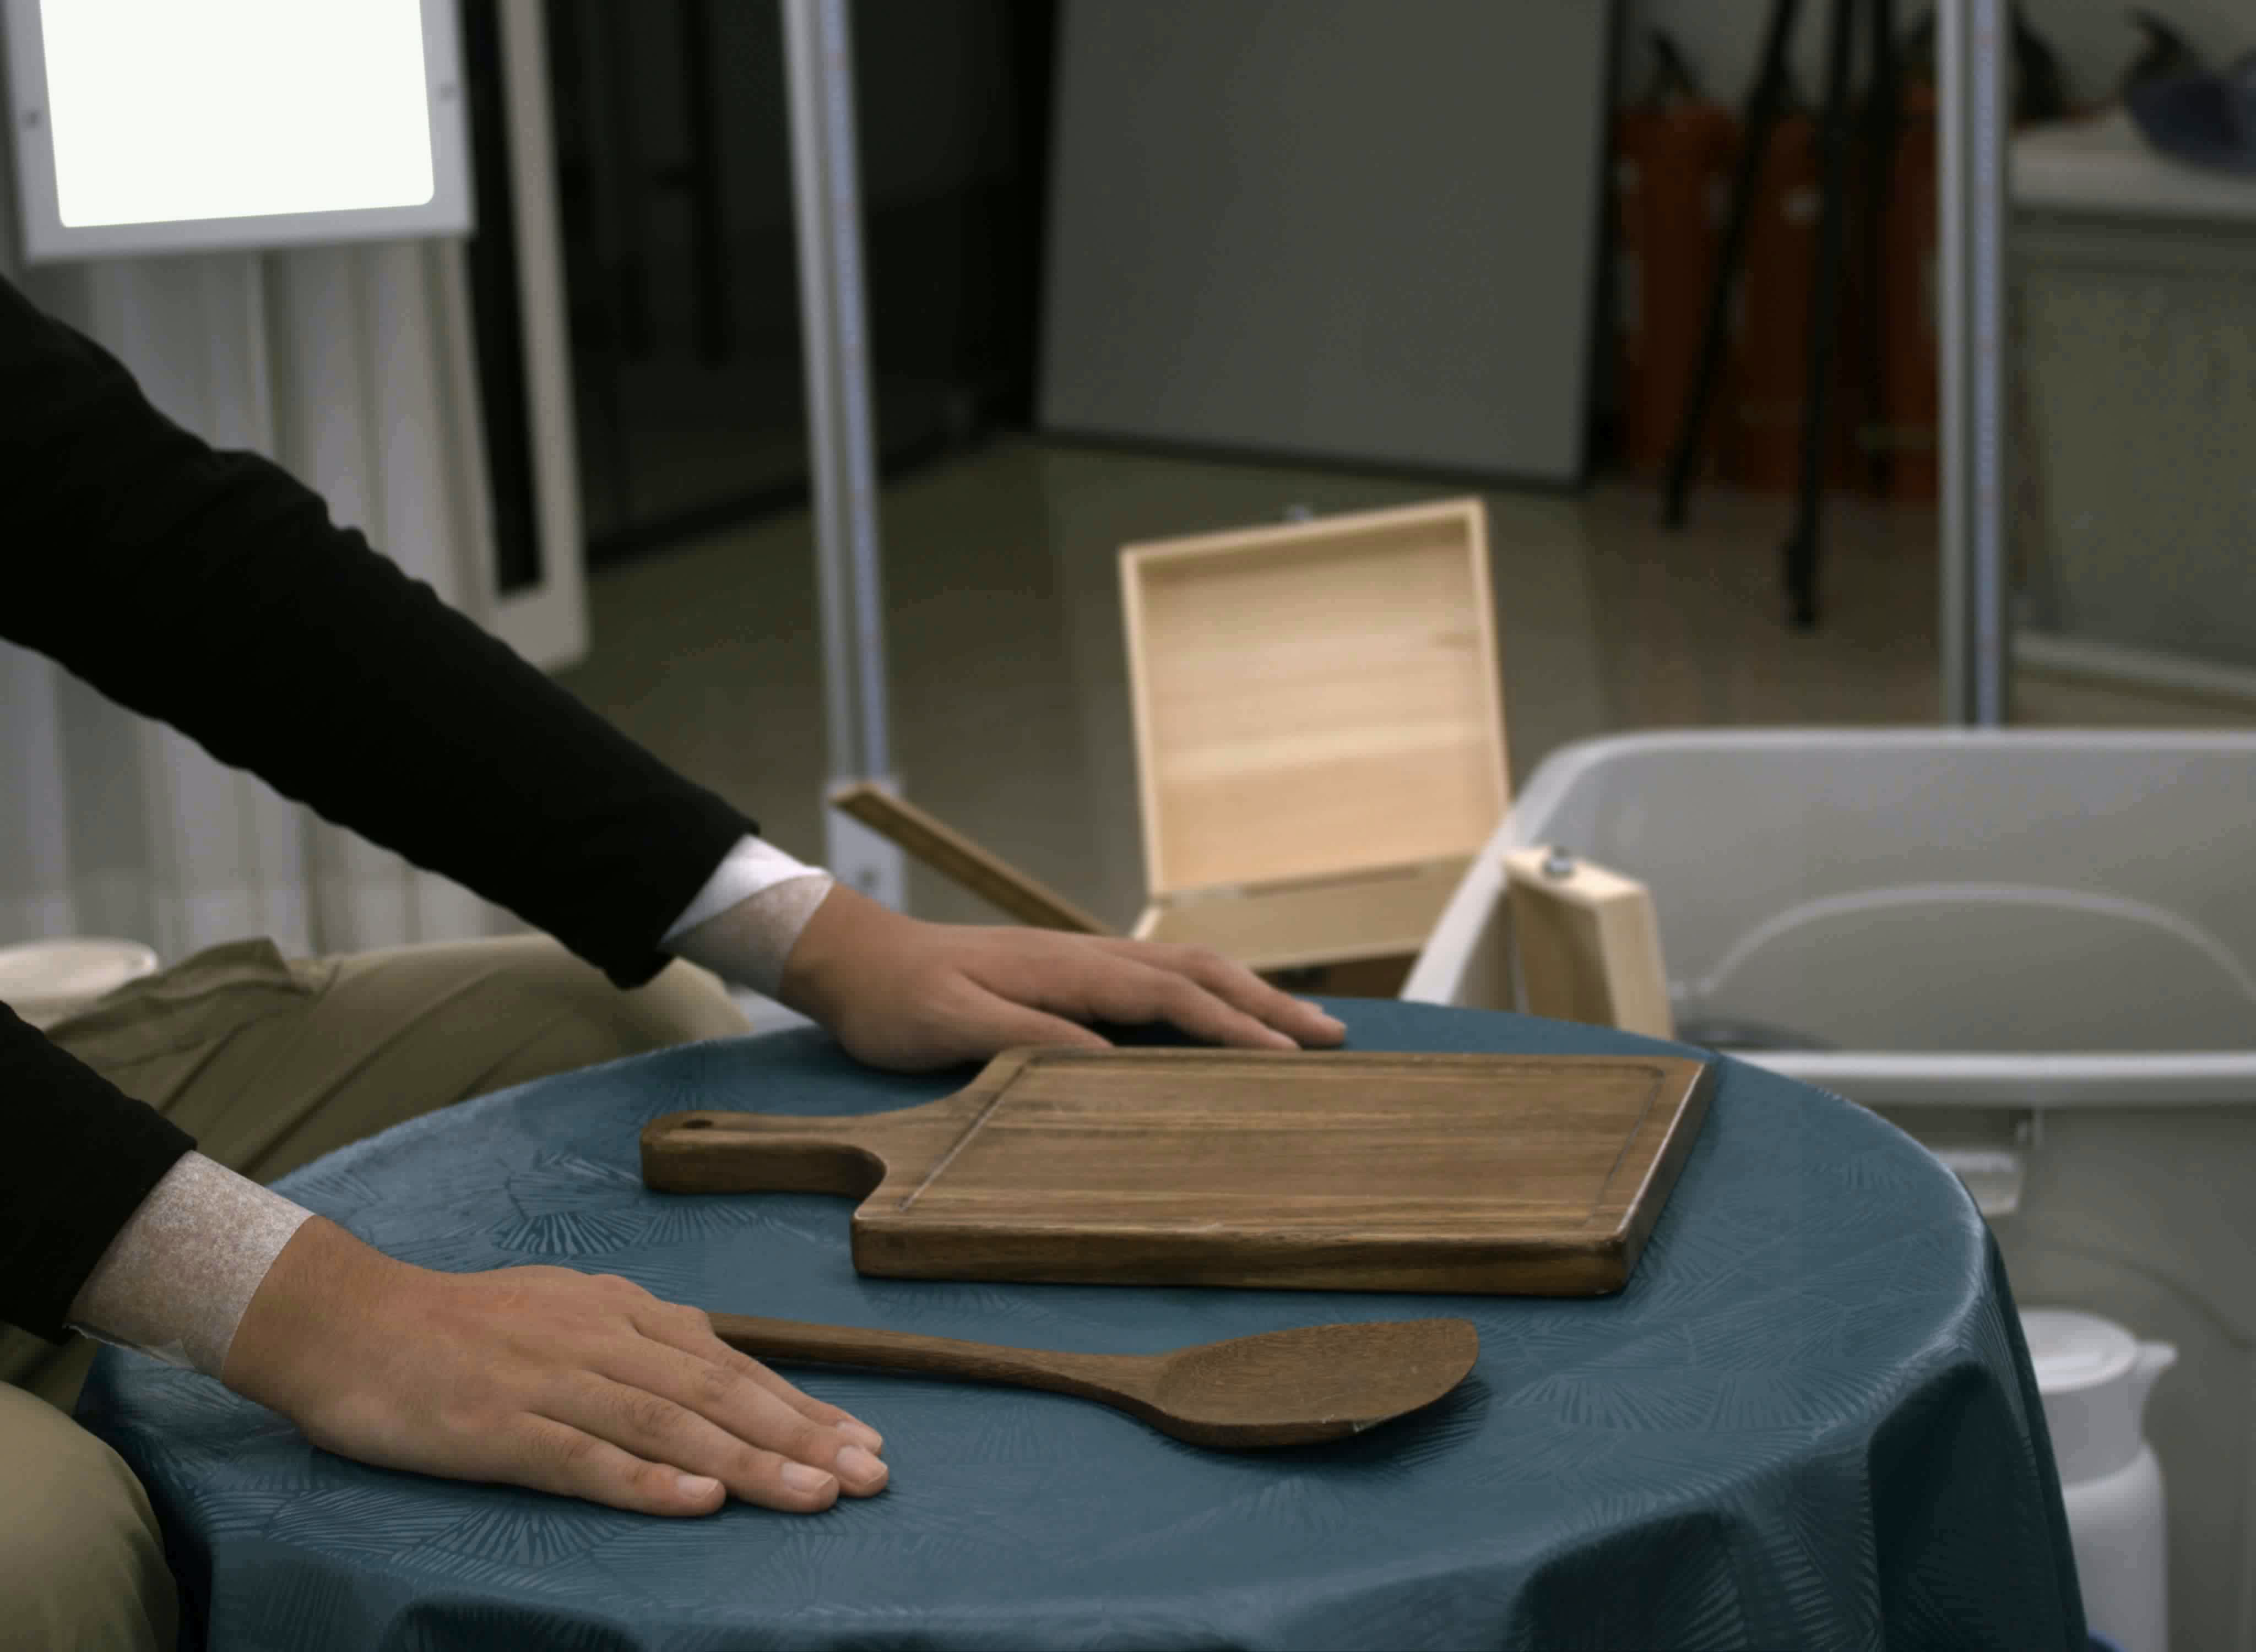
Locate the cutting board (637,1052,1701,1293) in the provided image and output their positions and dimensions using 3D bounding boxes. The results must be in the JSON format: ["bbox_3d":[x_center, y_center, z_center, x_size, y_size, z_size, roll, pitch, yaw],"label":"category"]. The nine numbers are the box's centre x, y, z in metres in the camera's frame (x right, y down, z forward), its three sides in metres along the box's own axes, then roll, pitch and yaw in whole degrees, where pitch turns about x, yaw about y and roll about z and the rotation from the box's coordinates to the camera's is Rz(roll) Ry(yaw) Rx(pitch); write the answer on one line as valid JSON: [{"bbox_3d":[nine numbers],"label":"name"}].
[{"bbox_3d":[0.006,0.110,1.768,0.350,0.023,0.199,0,14,15],"label":"cutting board"}]

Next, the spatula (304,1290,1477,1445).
[{"bbox_3d":[-0.081,0.157,1.617,0.386,0.016,0.095,2,14,24],"label":"spatula"}]
